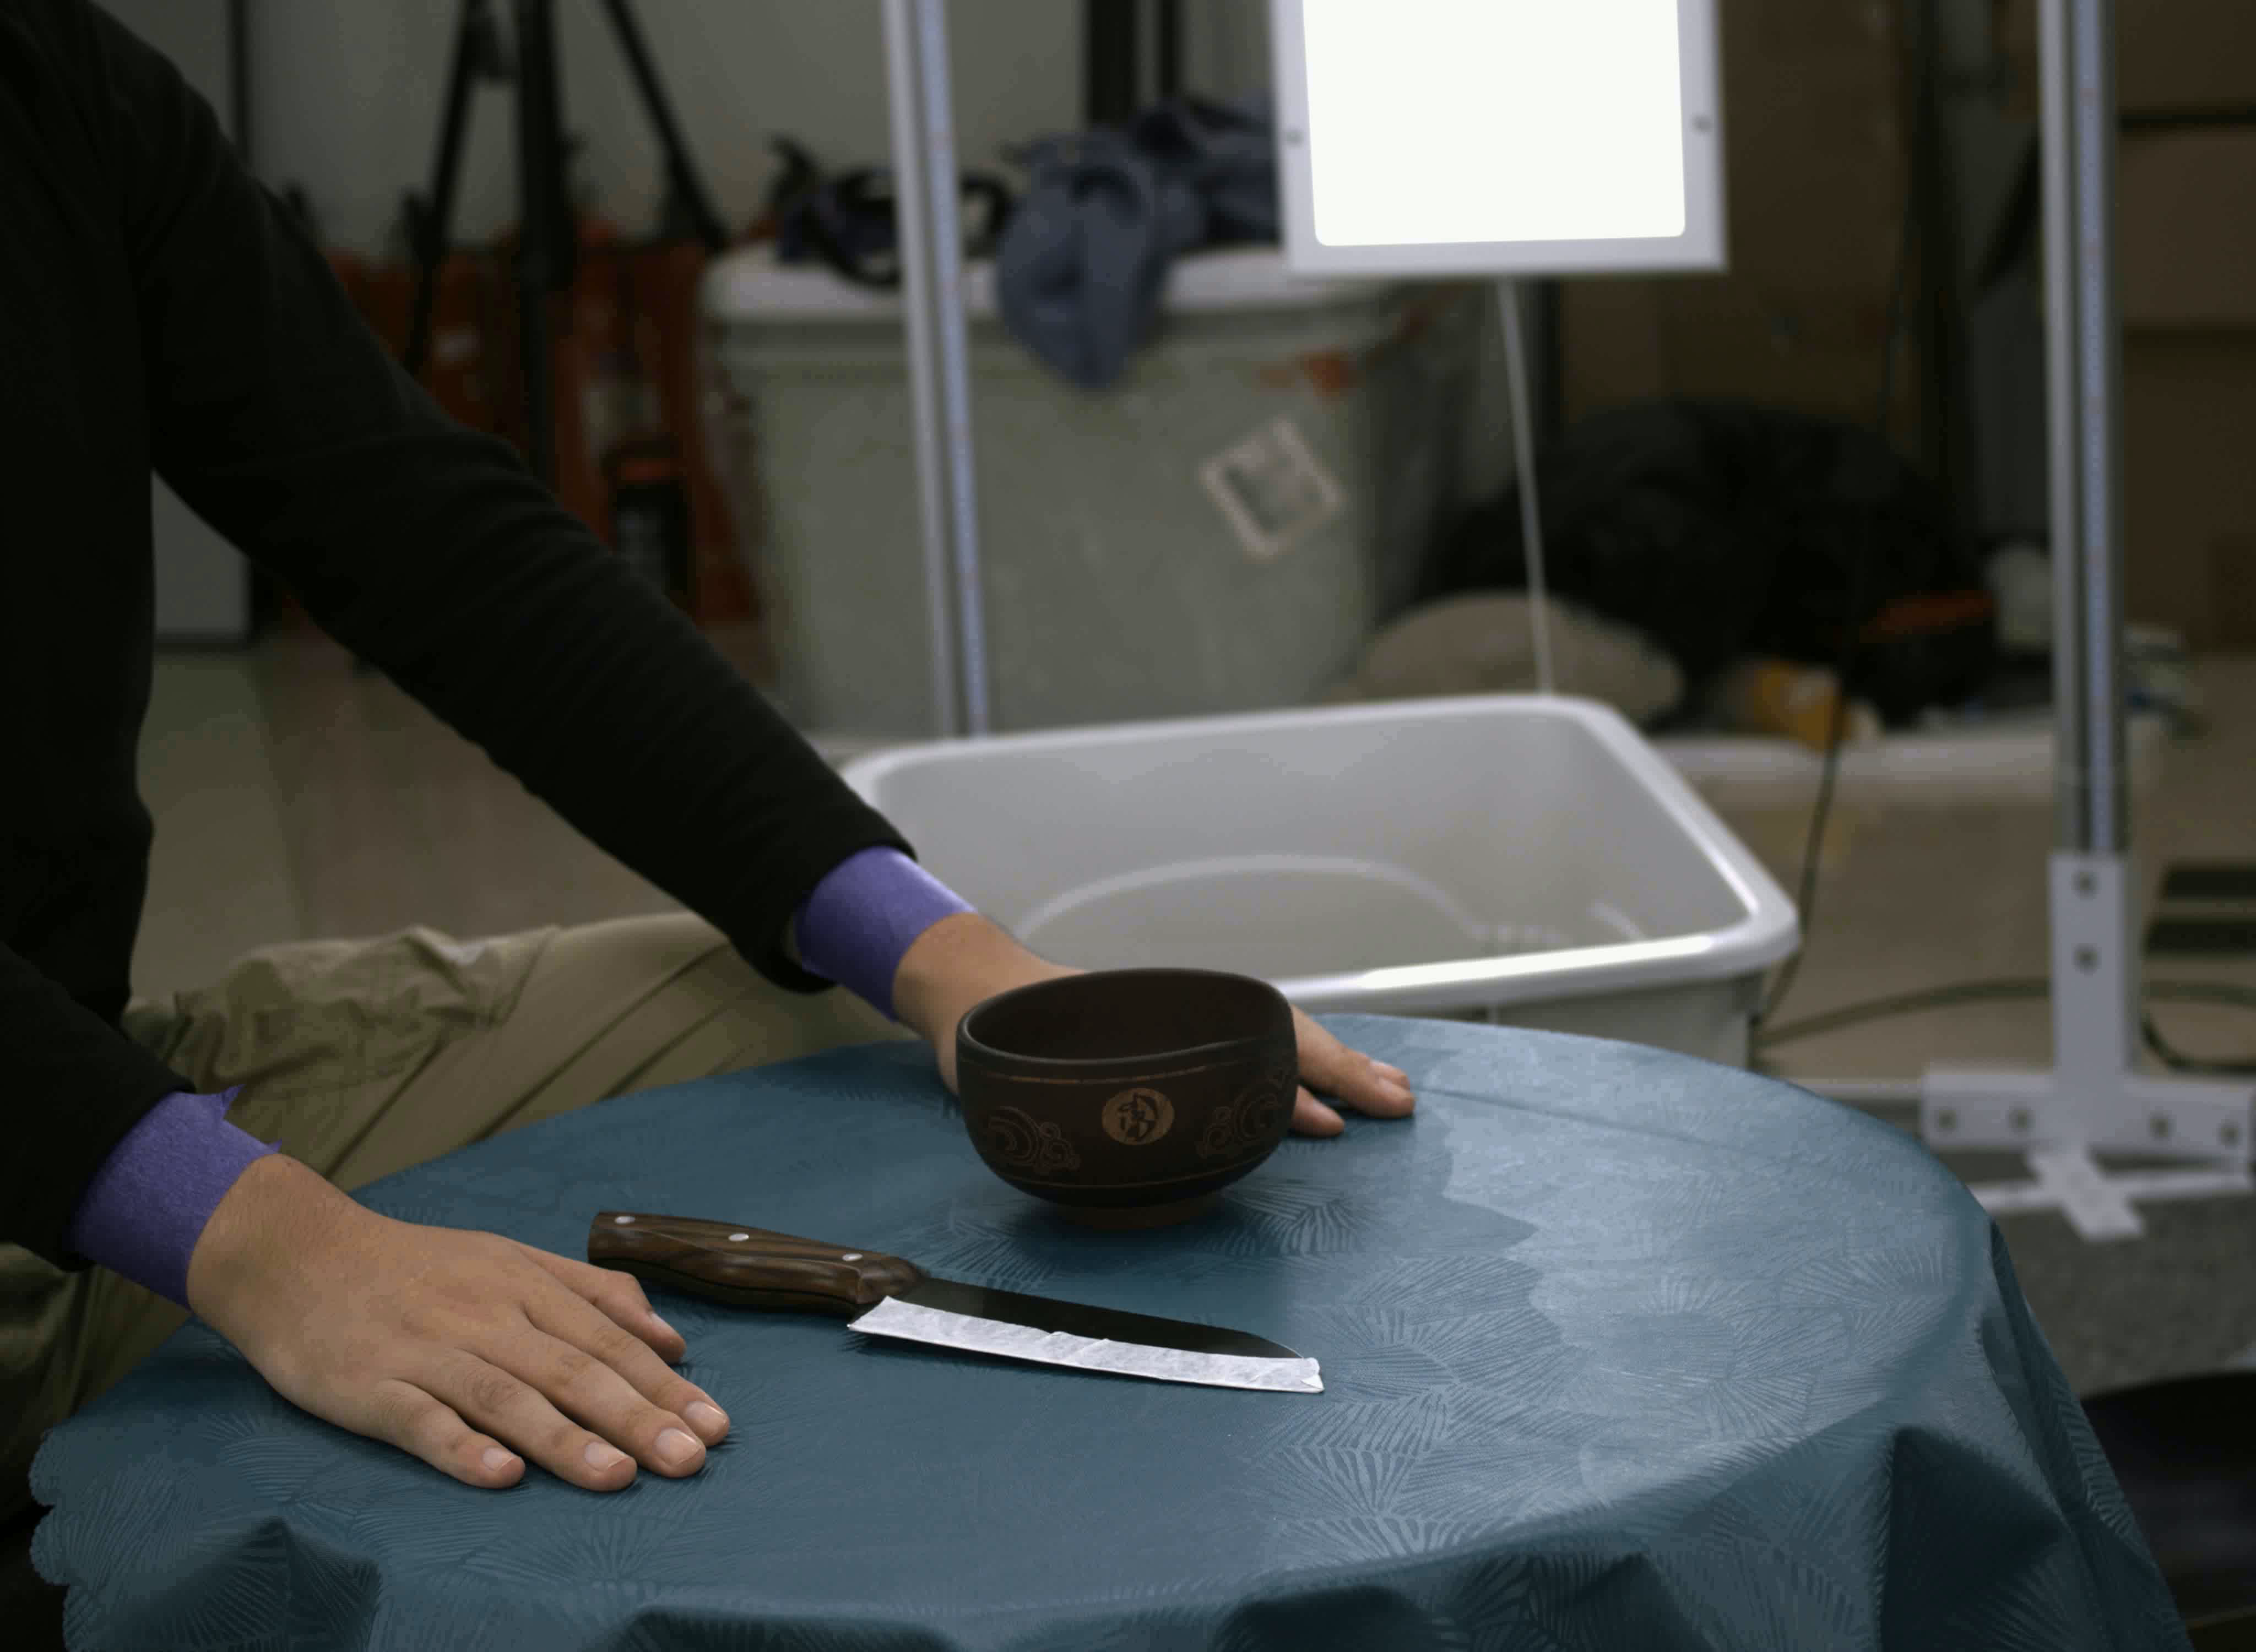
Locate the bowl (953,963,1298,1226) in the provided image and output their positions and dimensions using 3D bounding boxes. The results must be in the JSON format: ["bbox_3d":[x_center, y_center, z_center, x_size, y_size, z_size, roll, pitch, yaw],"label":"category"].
[{"bbox_3d":[0.001,0.095,1.875,0.118,0.070,0.118,-5,13,0],"label":"bowl"}]

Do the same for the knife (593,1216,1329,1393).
[{"bbox_3d":[-0.058,0.156,1.771,0.295,0.020,0.049,7,23,34],"label":"knife"}]
